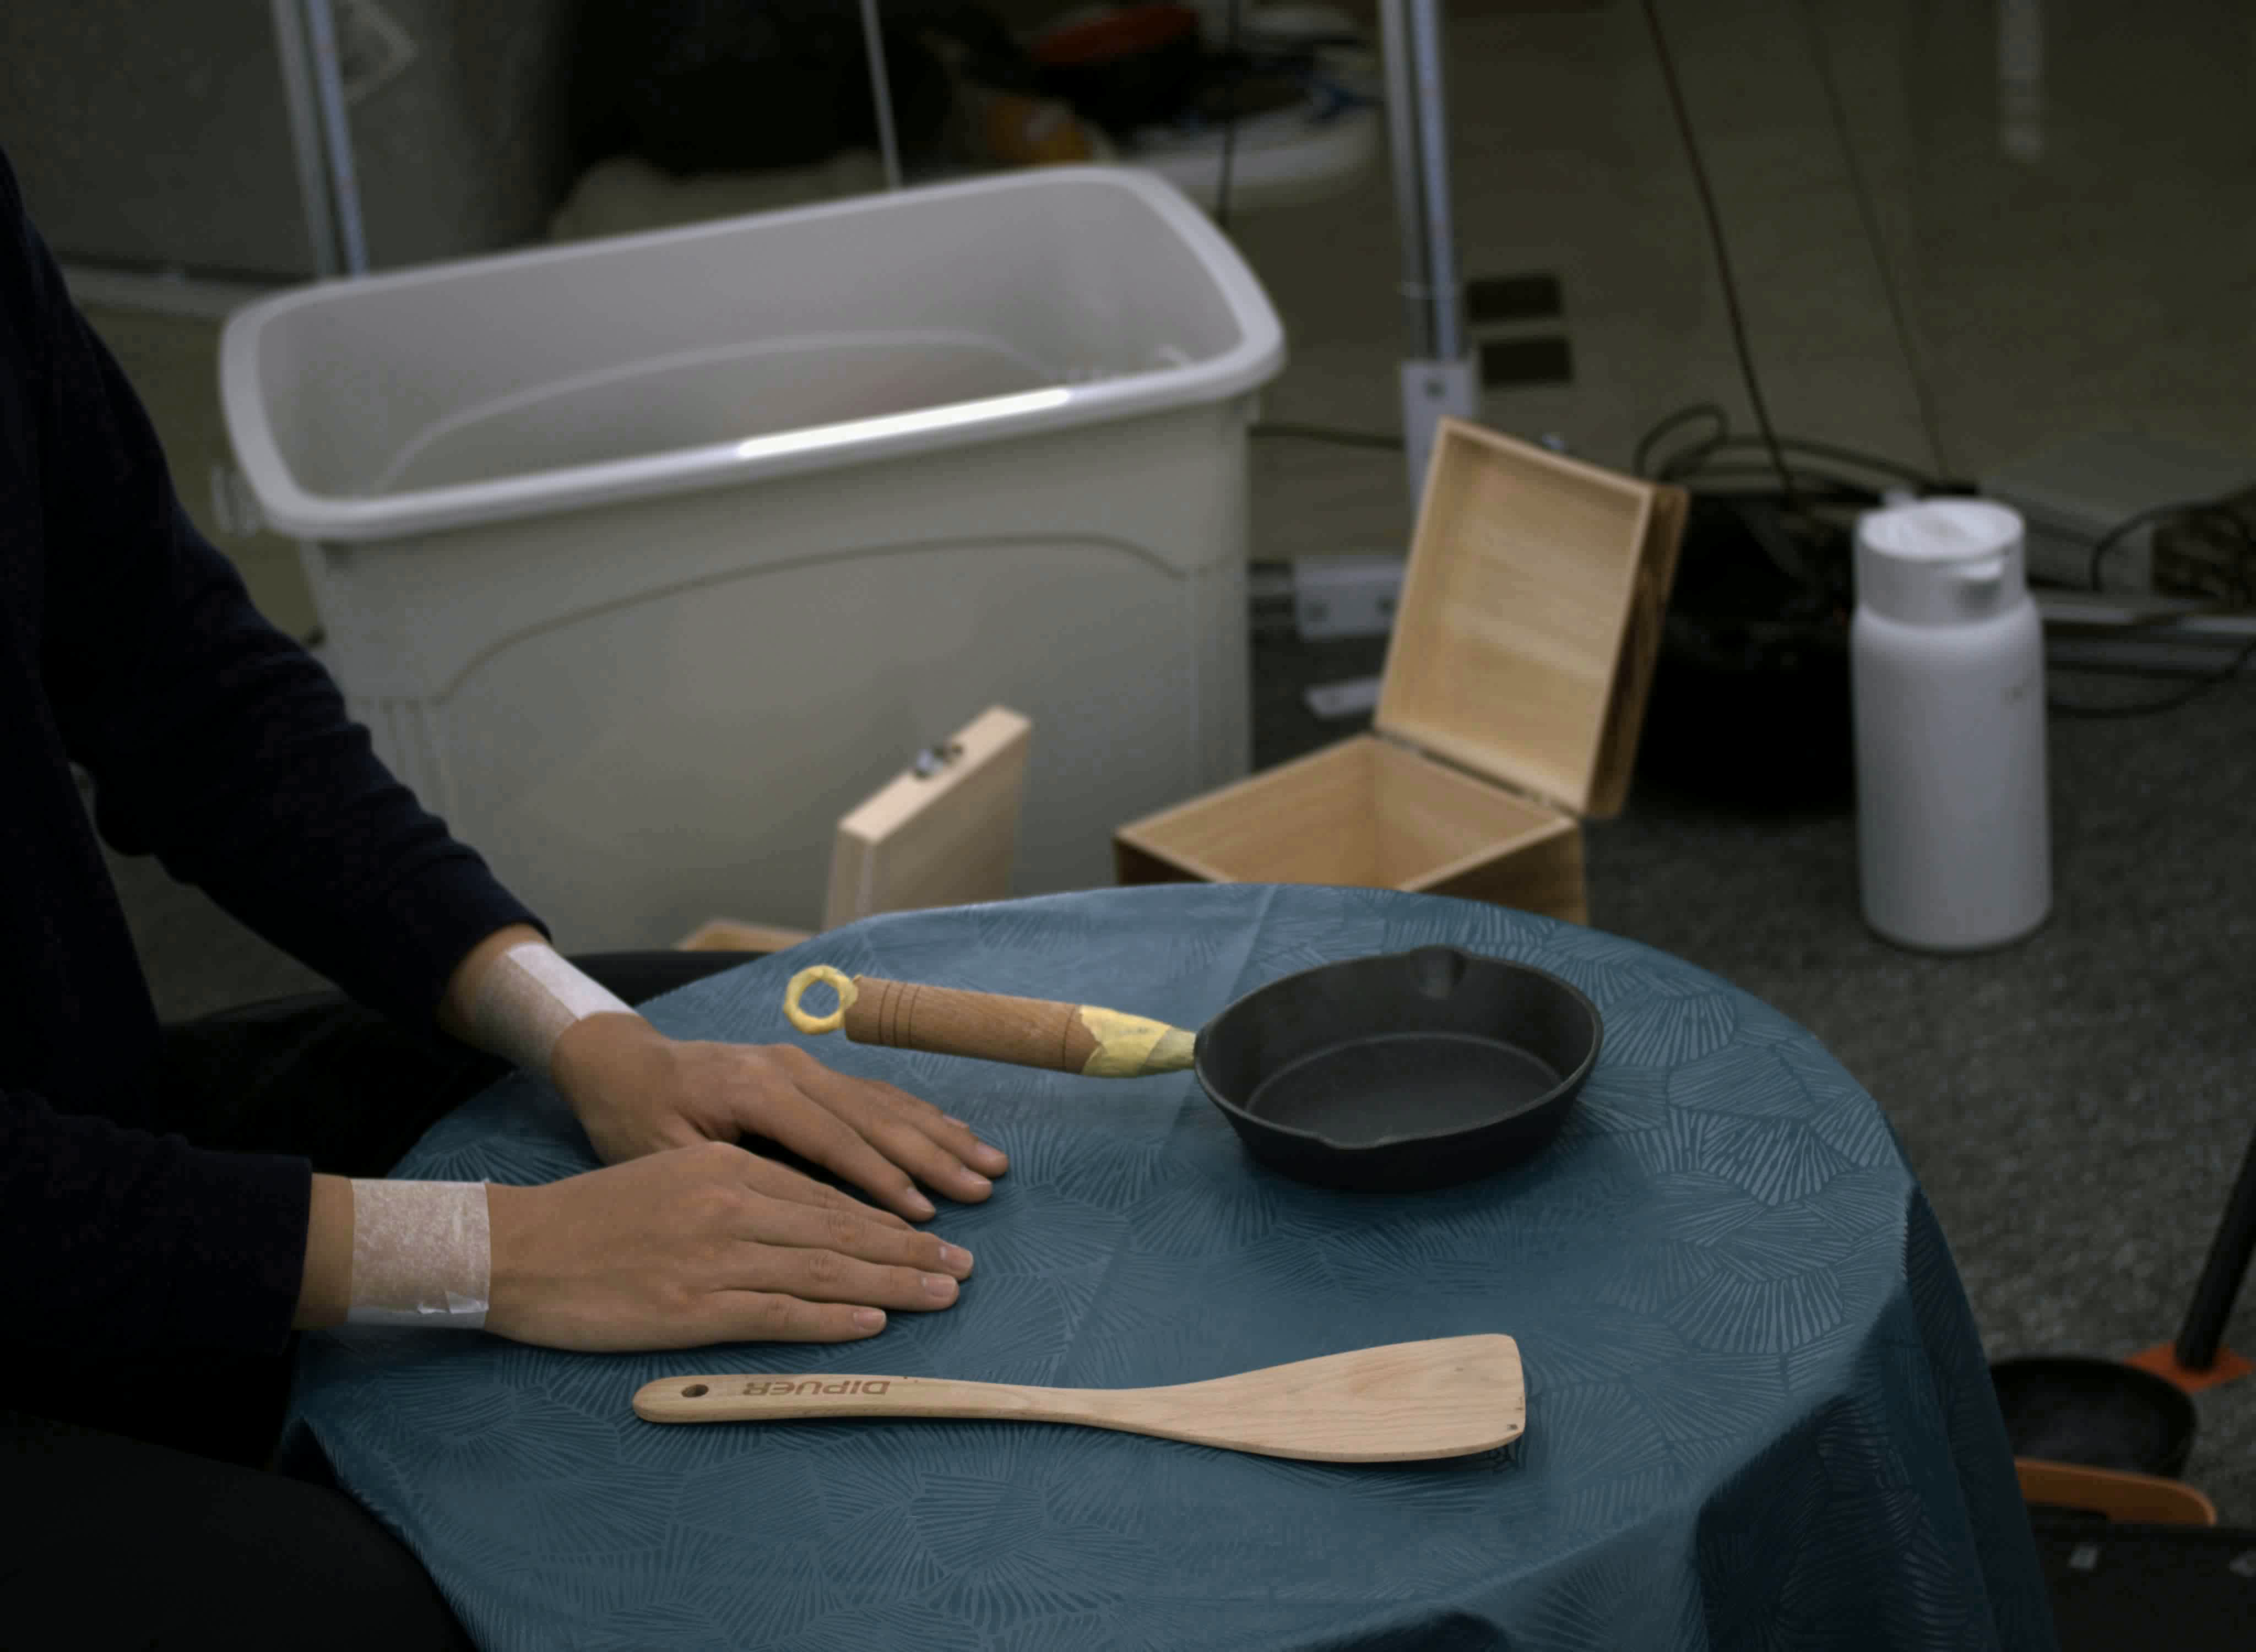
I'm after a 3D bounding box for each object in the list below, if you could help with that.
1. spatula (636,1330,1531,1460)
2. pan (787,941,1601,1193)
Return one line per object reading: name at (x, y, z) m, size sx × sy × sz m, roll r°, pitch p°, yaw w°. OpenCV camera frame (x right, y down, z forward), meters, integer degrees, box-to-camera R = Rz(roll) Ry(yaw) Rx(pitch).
spatula at (-0.016, 0.200, 2.001) m, size 0.327 × 0.017 × 0.079 m, roll -1°, pitch 25°, yaw 12°
pan at (0.023, 0.086, 2.193) m, size 0.323 × 0.050 × 0.166 m, roll 3°, pitch 27°, yaw 17°
